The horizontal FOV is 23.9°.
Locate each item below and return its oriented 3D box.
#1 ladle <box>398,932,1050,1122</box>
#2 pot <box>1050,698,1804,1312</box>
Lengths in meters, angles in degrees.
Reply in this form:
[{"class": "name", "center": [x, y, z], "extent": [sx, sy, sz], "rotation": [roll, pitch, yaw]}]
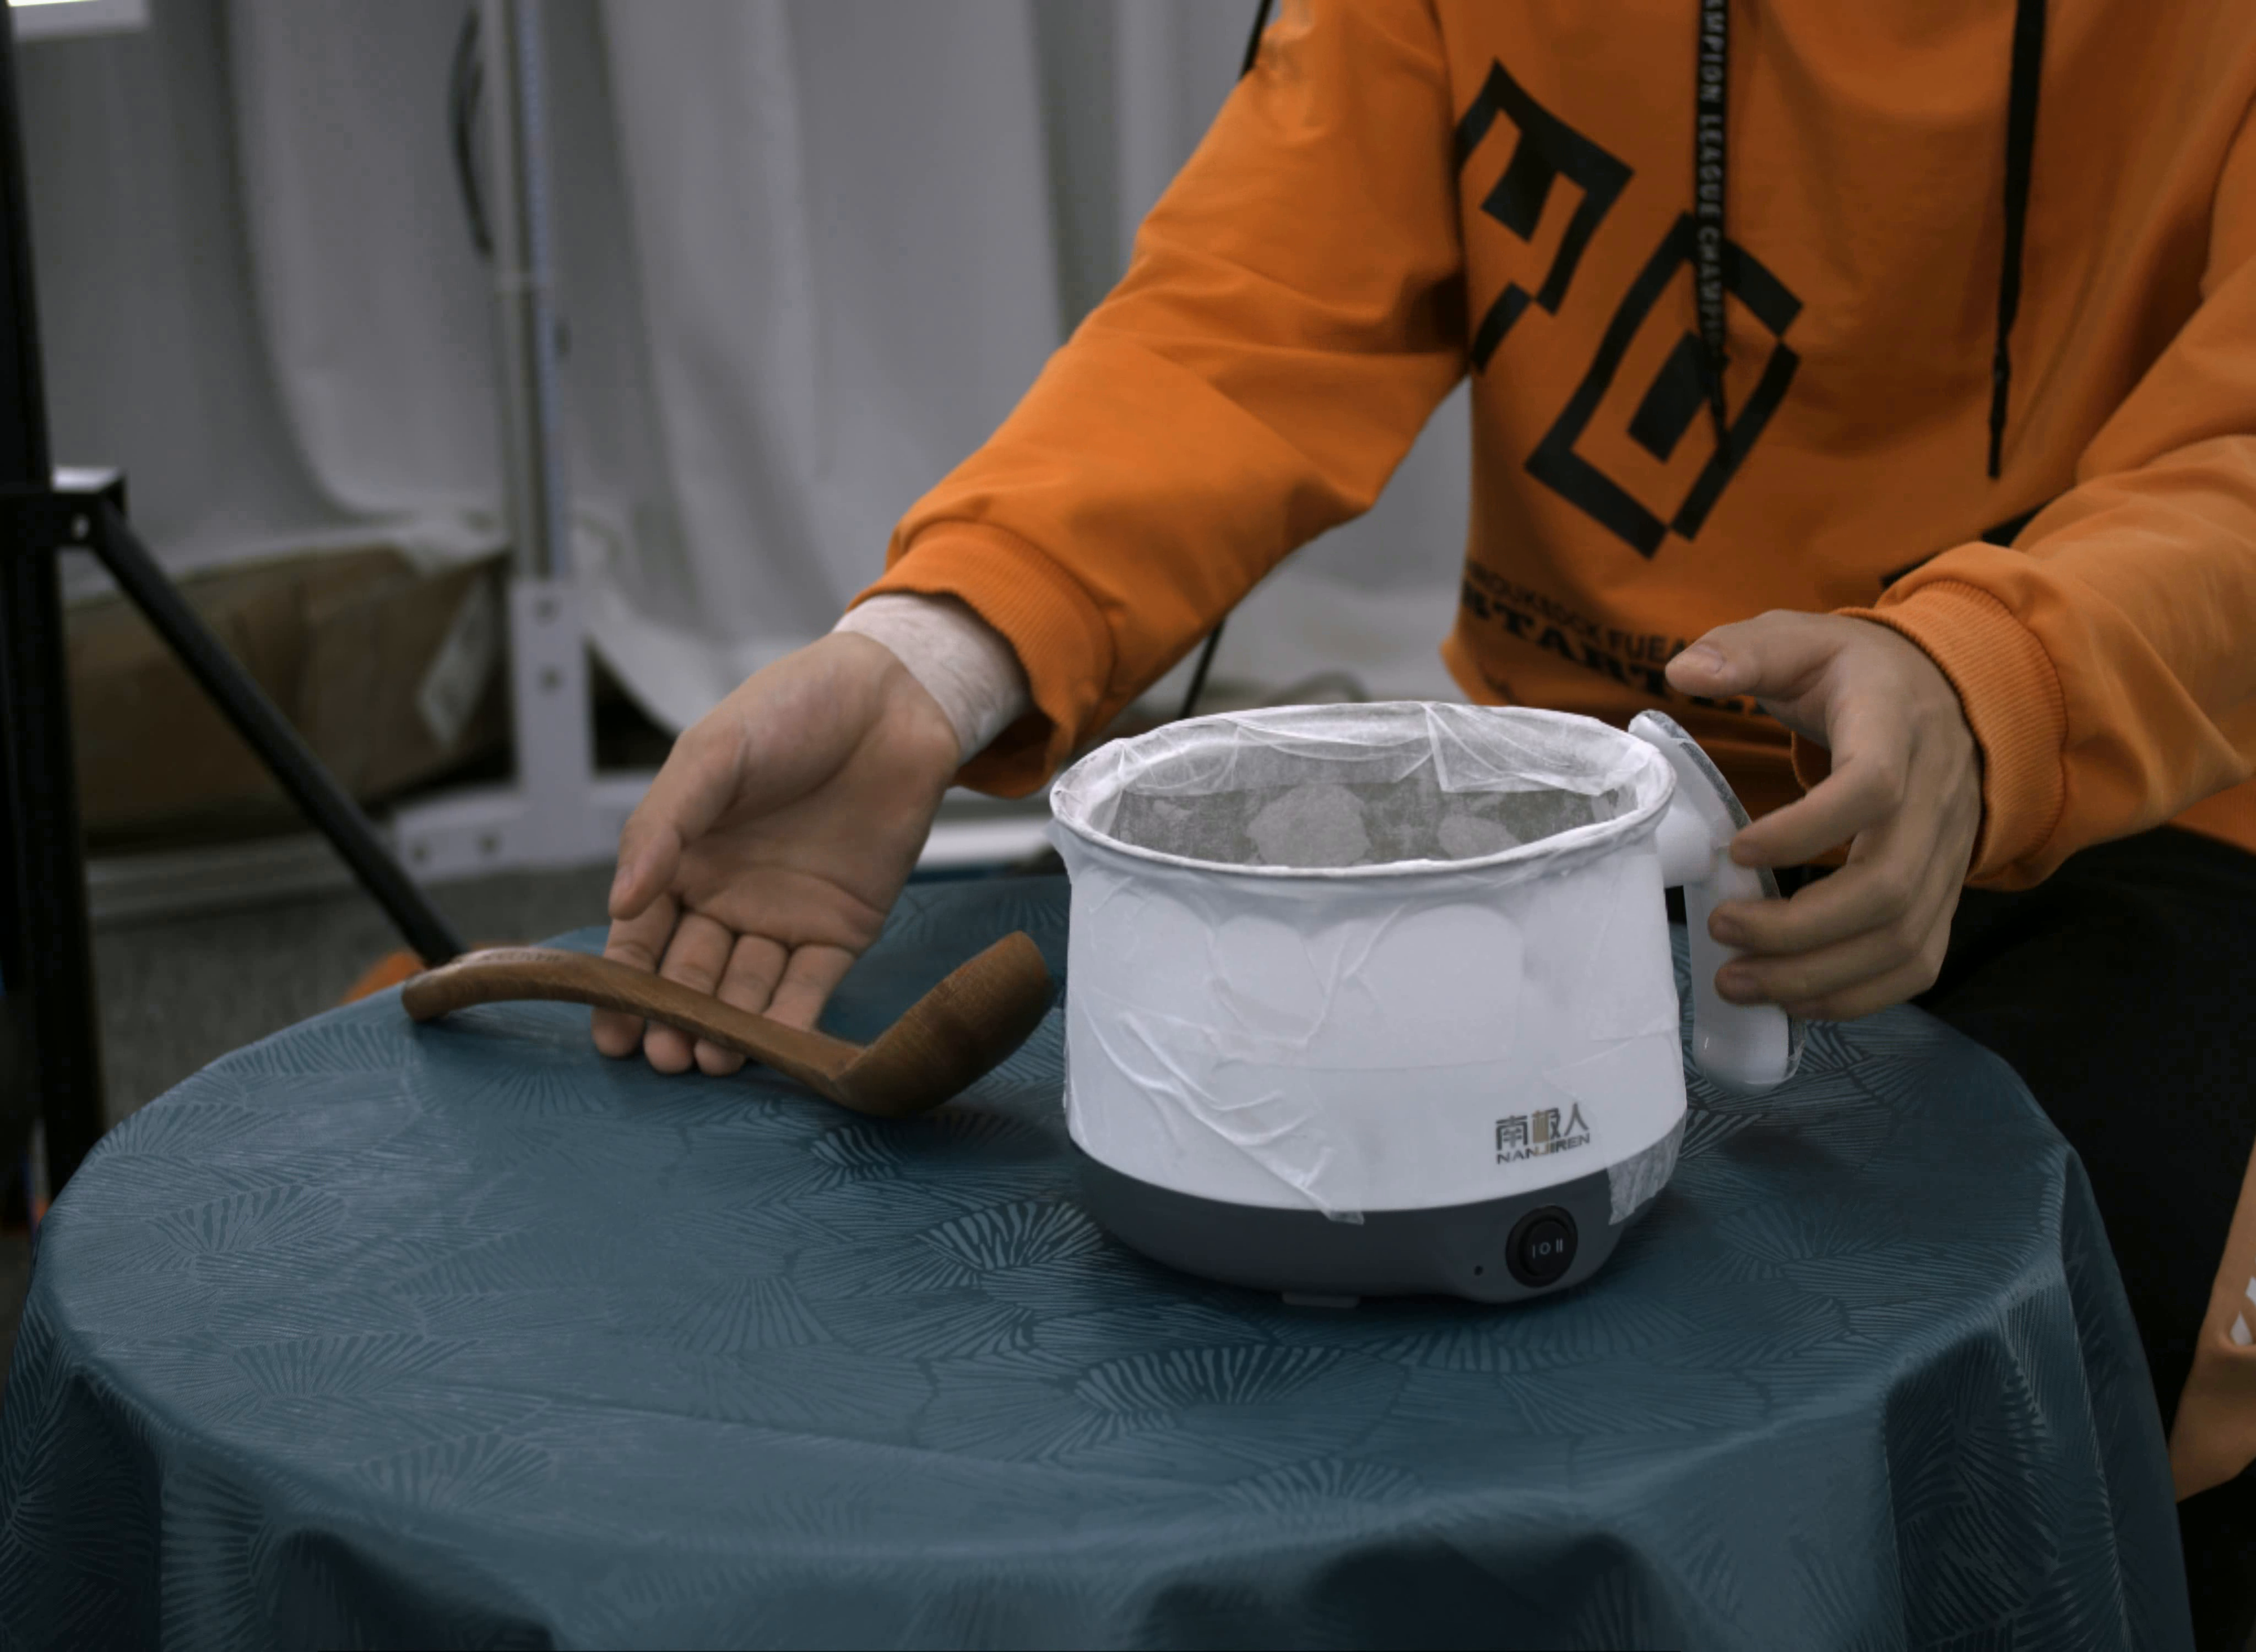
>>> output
[{"class": "ladle", "center": [-0.135, 0.048, 1.675], "extent": [0.266, 0.065, 0.075], "rotation": [10, 21, 38]}, {"class": "pot", "center": [0.092, 0.044, 1.516], "extent": [0.228, 0.136, 0.182], "rotation": [-12, 18, -28]}]
